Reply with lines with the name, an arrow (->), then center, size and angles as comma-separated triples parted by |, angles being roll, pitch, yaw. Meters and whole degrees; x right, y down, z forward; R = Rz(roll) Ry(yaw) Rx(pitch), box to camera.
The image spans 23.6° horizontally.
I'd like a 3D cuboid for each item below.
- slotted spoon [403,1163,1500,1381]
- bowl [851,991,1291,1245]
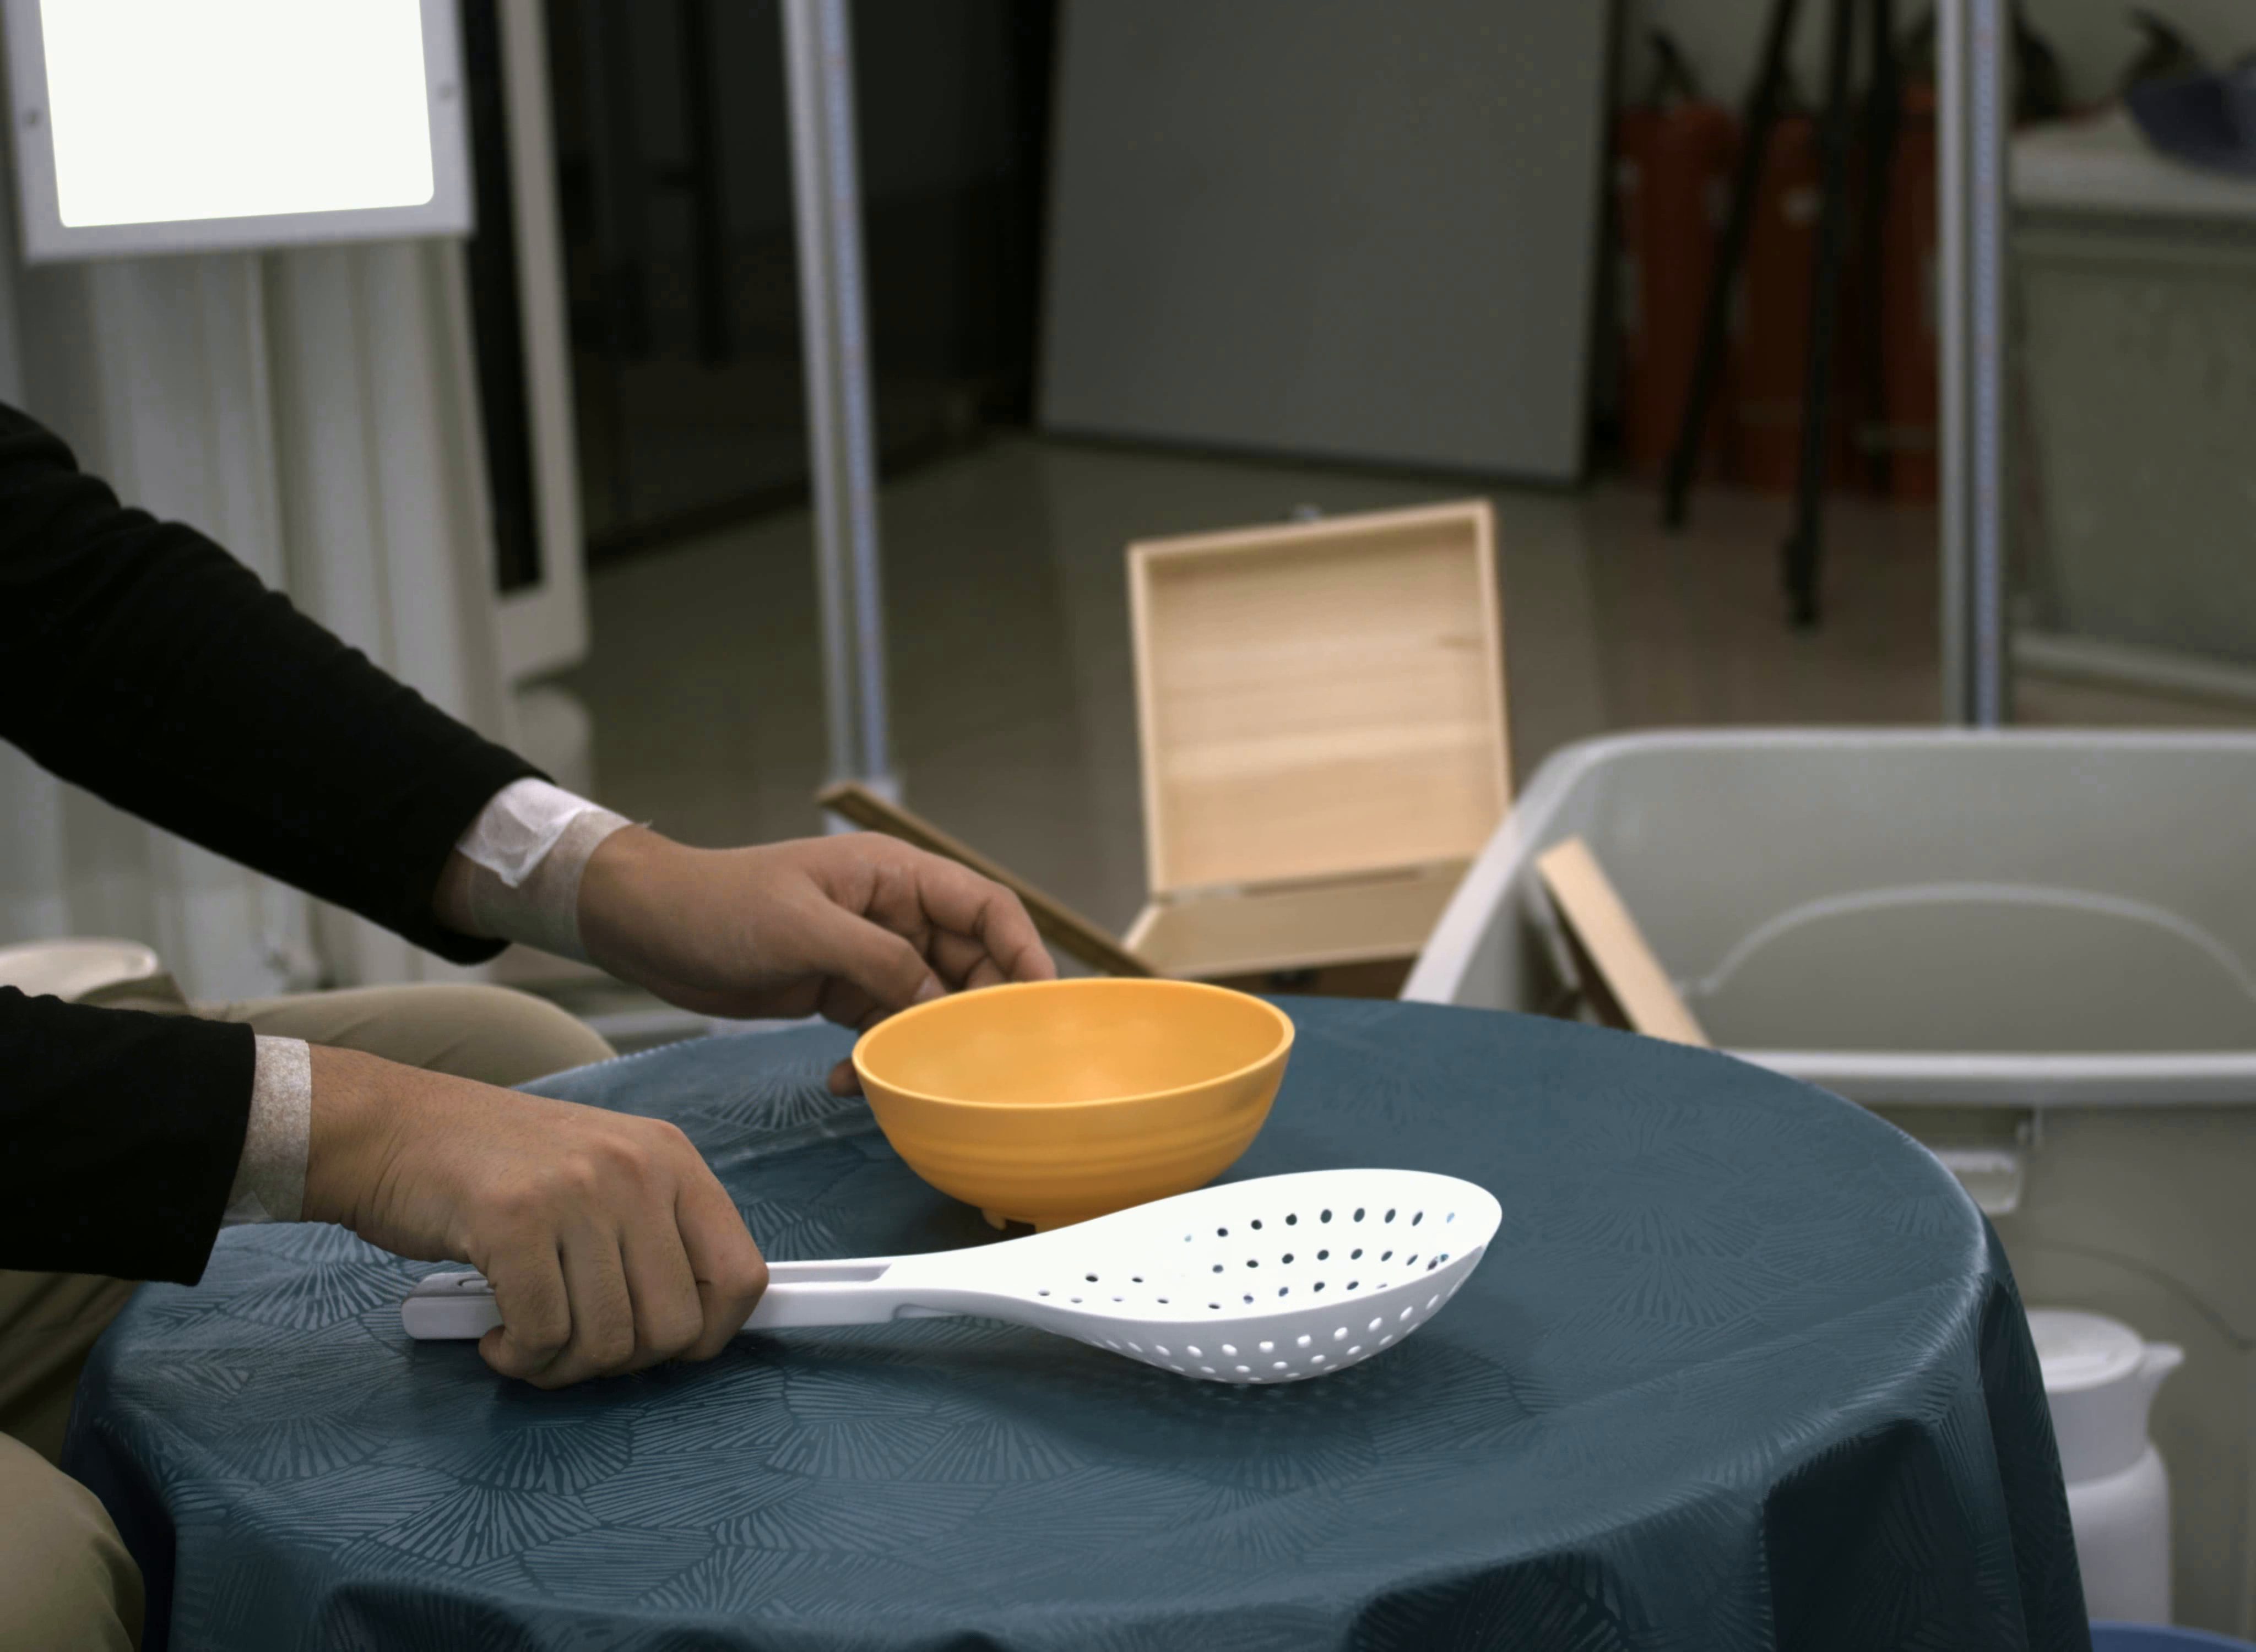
slotted spoon -> -0.057, 0.138, 1.621 | 0.349, 0.046, 0.135 | -1, 14, 18
bowl -> -0.017, 0.099, 1.748 | 0.143, 0.061, 0.145 | -3, 12, 0
